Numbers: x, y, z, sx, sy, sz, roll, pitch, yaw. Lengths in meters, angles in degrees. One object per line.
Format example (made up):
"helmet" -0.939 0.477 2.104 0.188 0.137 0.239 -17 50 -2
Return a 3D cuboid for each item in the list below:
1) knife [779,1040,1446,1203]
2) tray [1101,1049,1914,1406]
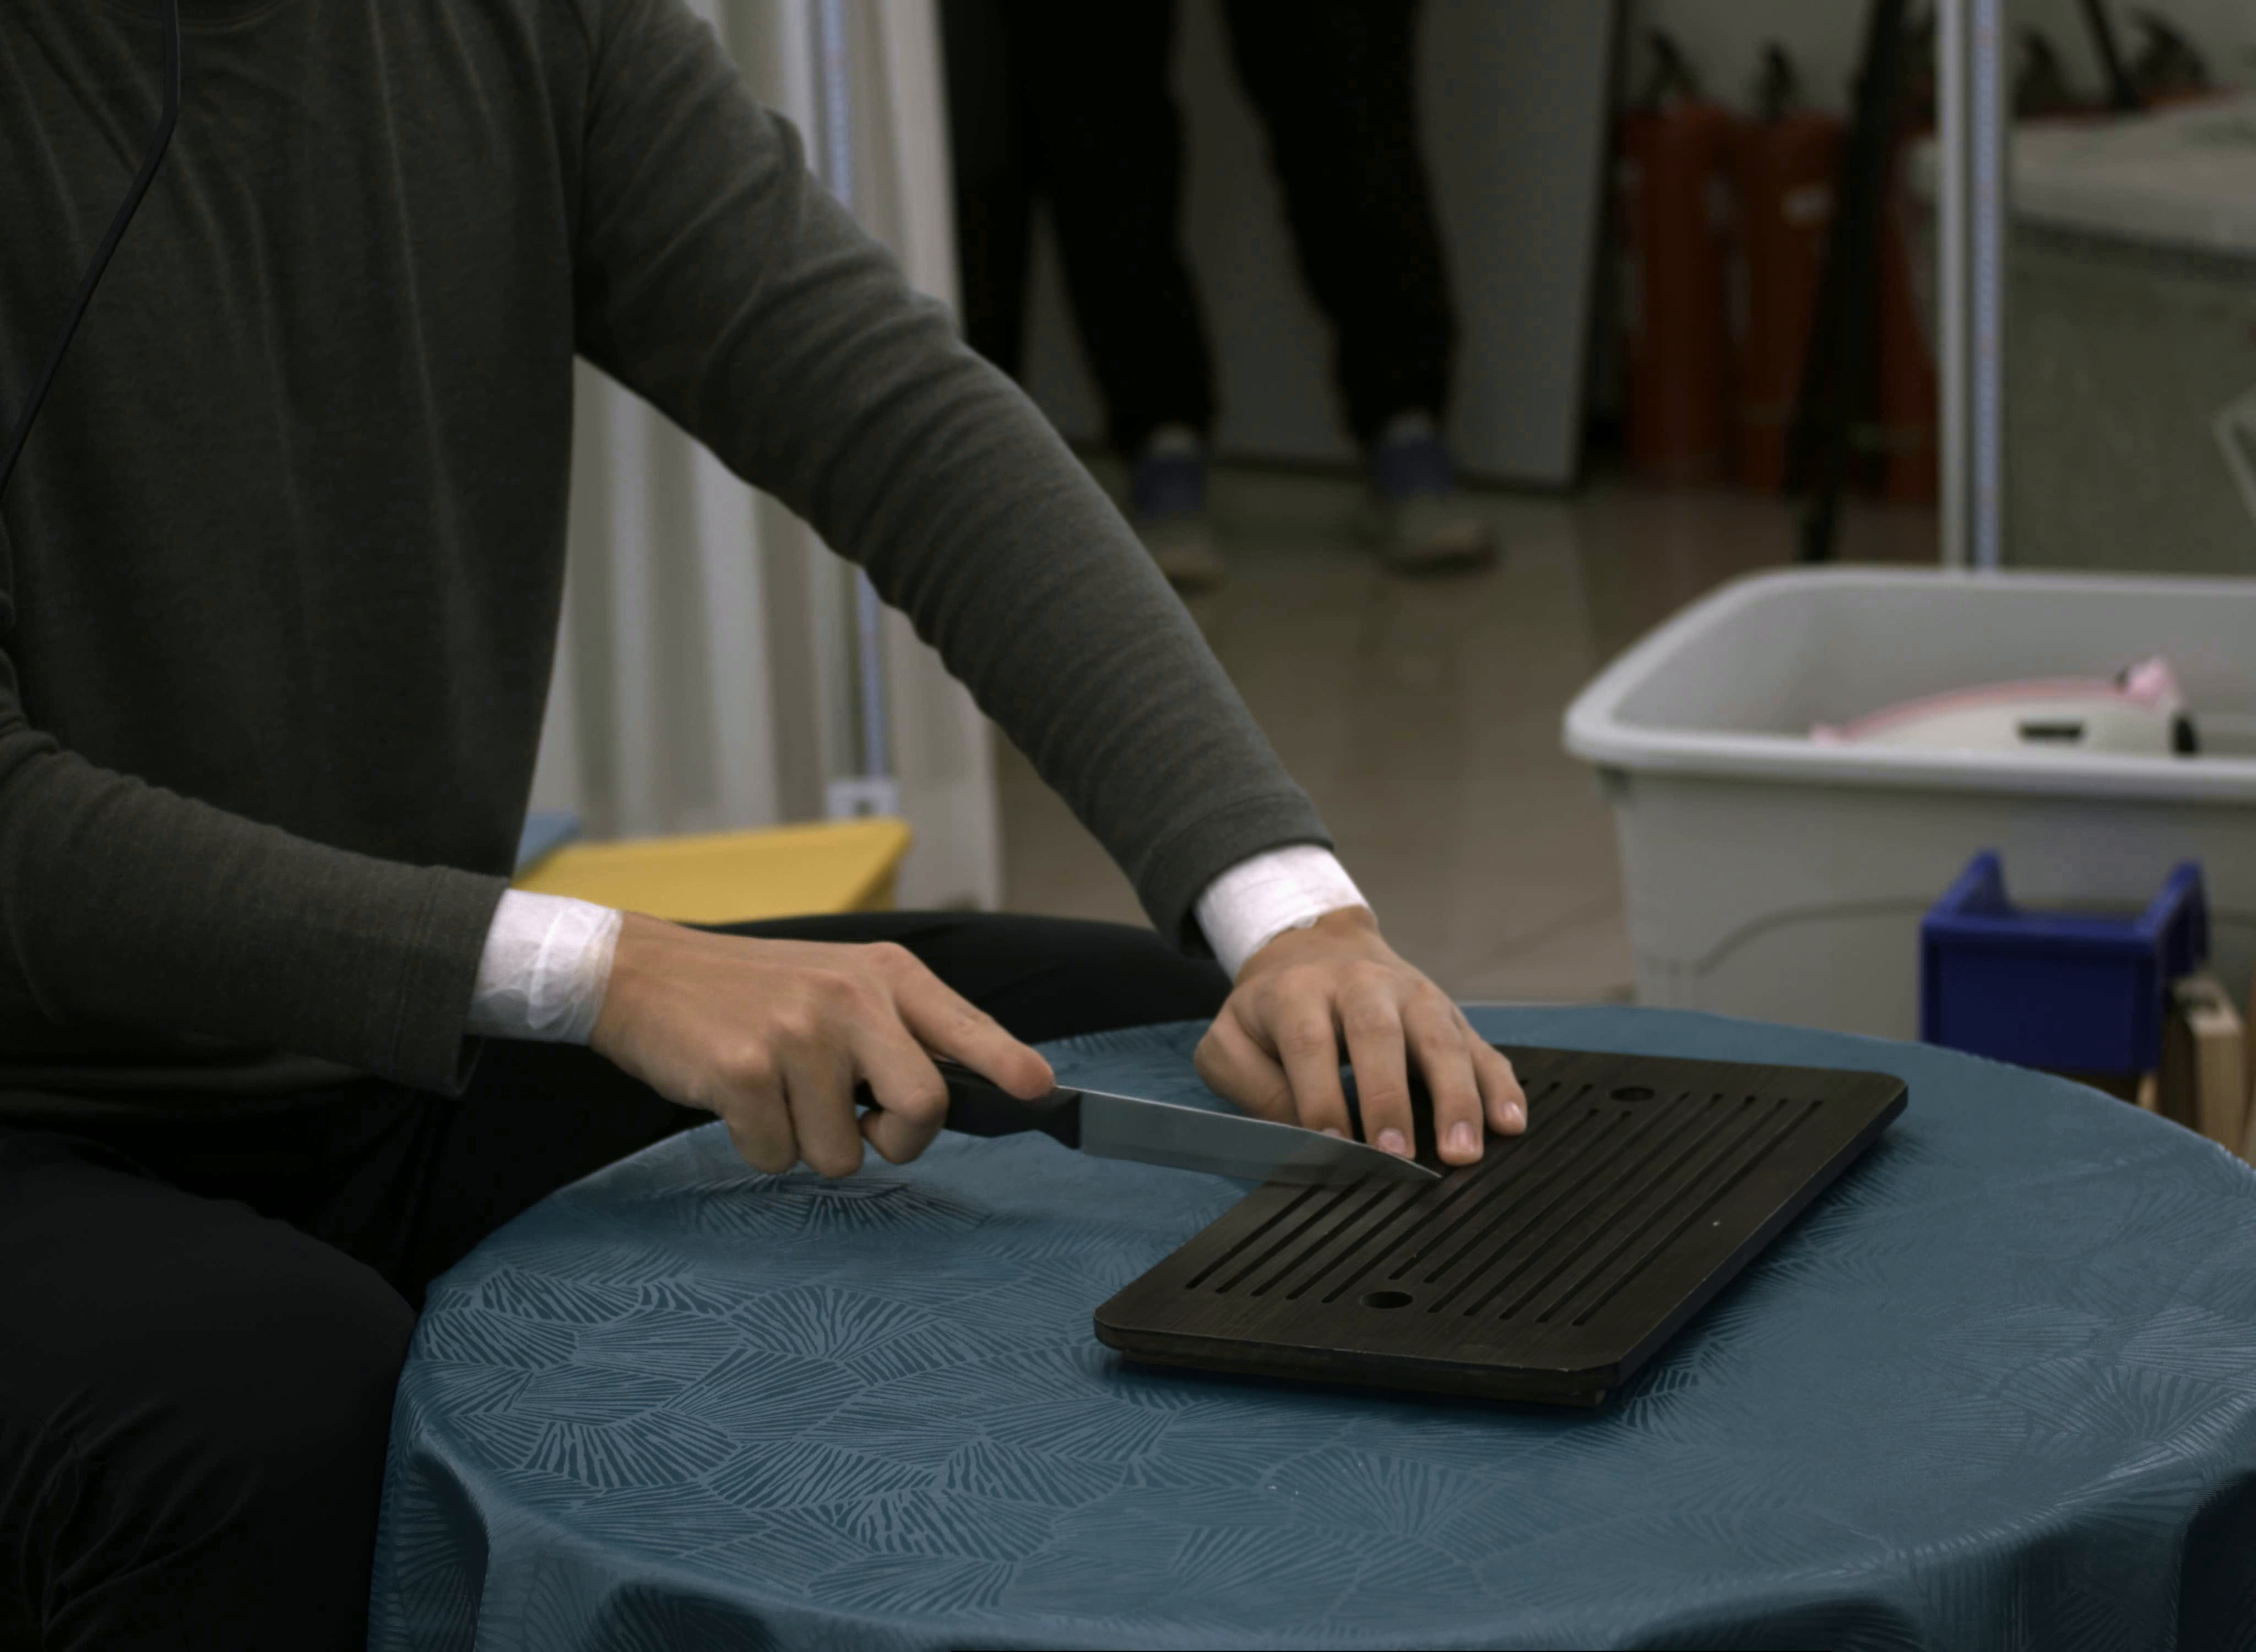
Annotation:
"knife" -0.006 0.095 1.741 0.238 0.025 0.016 9 8 24
"tray" 0.127 0.123 1.692 0.170 0.019 0.302 2 15 26
